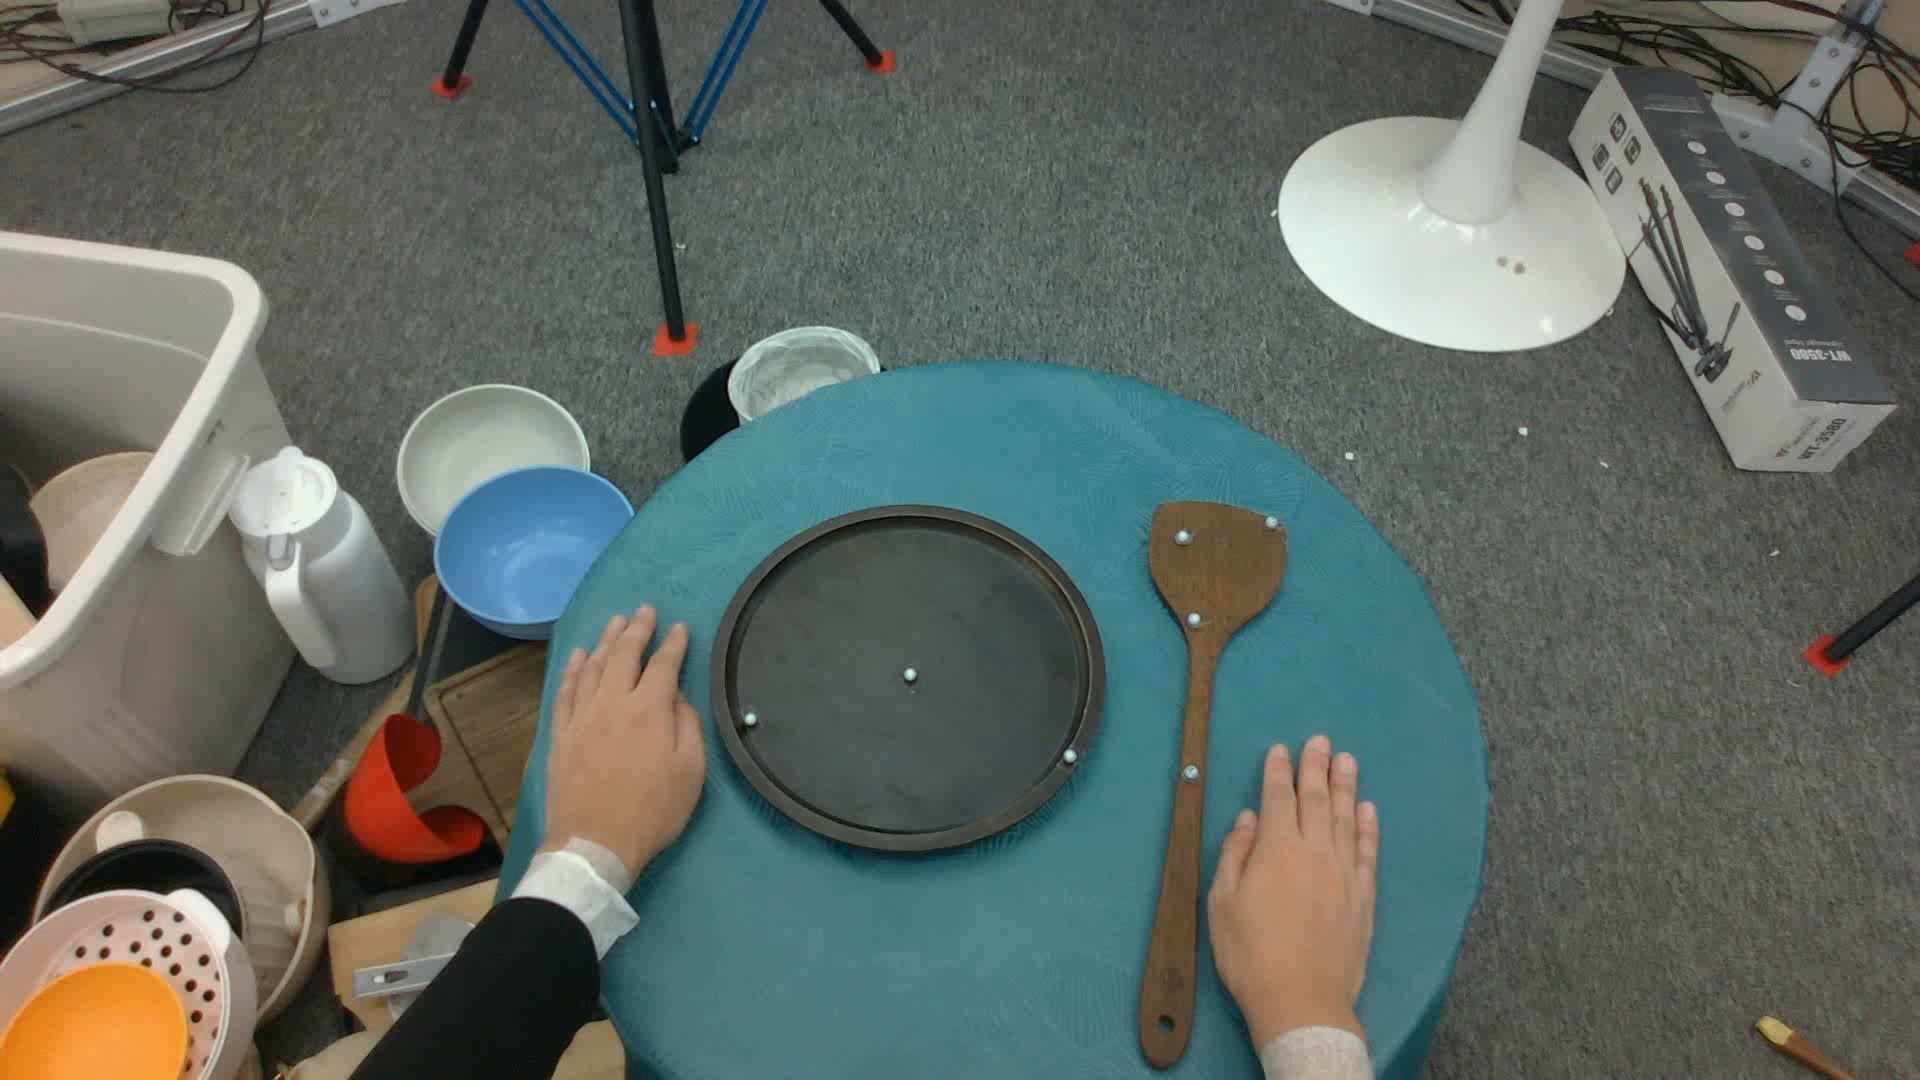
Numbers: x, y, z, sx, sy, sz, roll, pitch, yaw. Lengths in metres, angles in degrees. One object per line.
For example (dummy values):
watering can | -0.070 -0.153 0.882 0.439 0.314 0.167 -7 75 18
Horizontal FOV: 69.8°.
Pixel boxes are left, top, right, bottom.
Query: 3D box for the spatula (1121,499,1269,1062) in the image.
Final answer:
spatula | 0.136 0.128 0.860 0.096 0.016 0.388 10 54 4

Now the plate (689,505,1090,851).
plate | -0.044 0.081 0.879 0.255 0.029 0.256 3 53 -3
